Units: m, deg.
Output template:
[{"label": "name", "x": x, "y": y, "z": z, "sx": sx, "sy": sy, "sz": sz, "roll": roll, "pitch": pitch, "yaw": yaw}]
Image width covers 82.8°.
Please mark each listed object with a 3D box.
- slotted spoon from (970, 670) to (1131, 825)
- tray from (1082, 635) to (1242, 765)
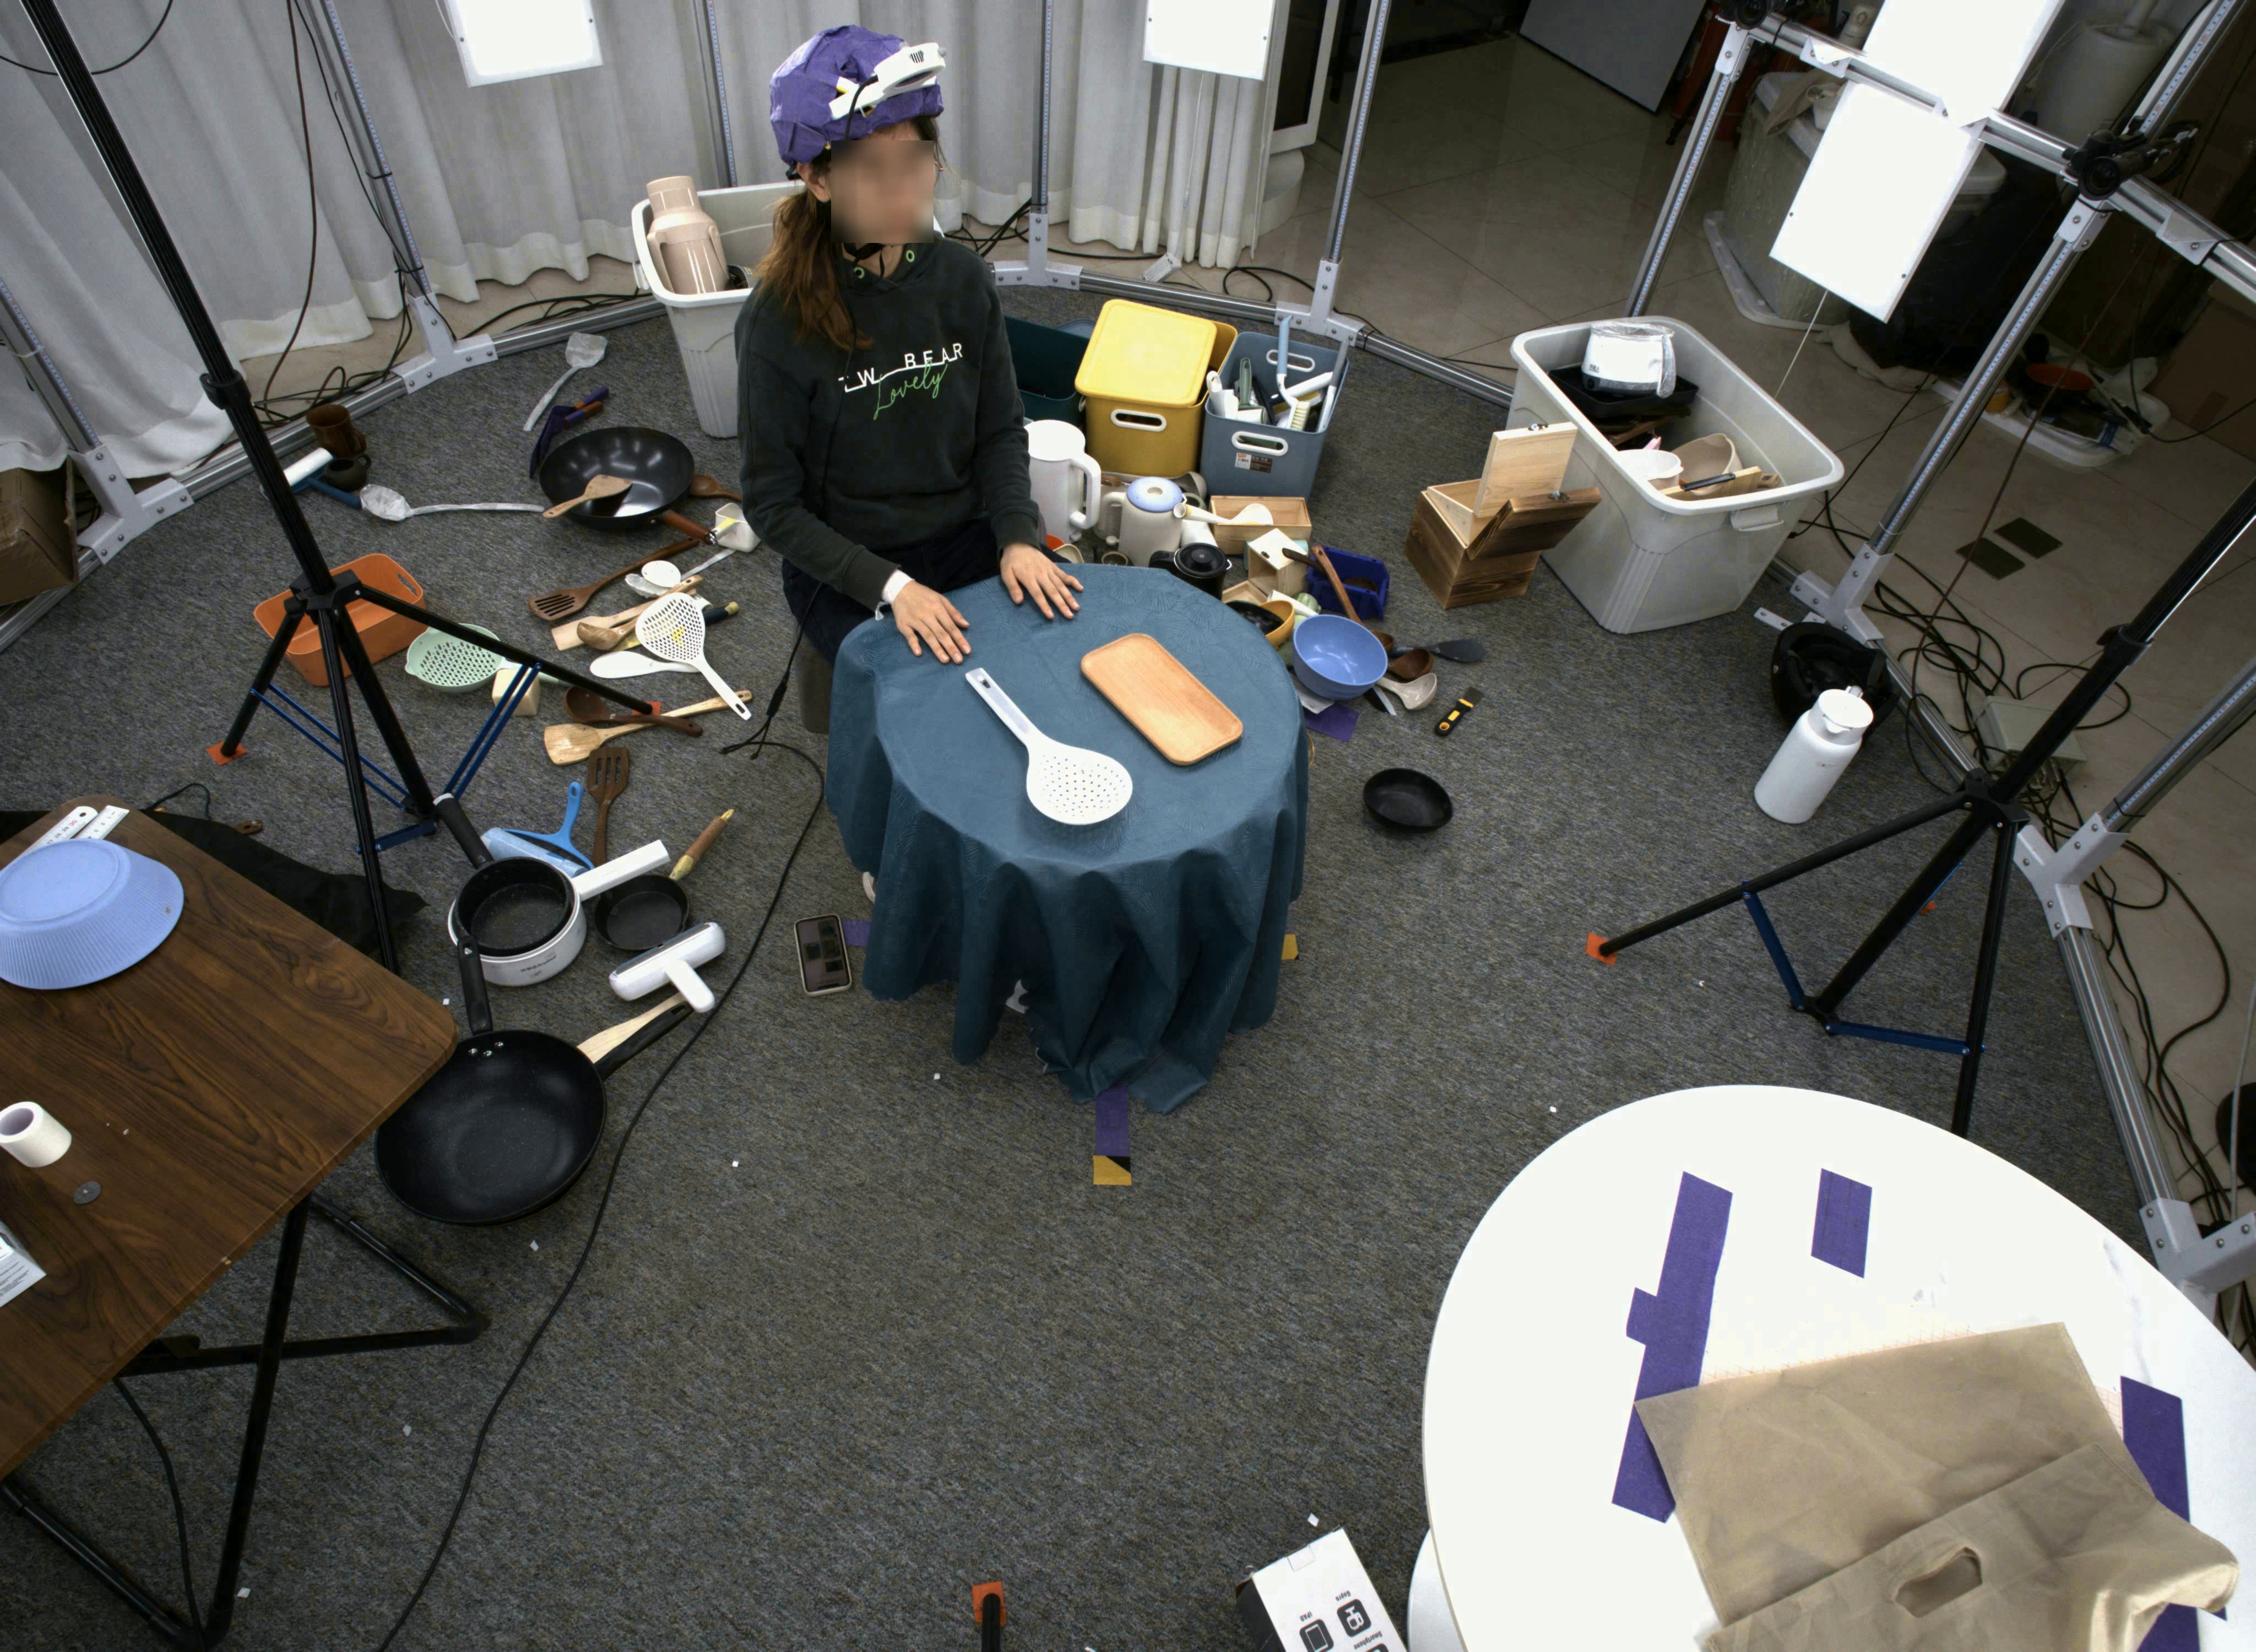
[{"label": "slotted spoon", "x": -0.122, "y": -0.111, "z": 1.743, "sx": 0.136, "sy": 0.044, "sz": 0.357, "roll": -22, "pitch": 53, "yaw": -24}, {"label": "tray", "x": 0.046, "y": -0.183, "z": 1.836, "sx": 0.131, "sy": 0.022, "sz": 0.255, "roll": -26, "pitch": 54, "yaw": -26}]
